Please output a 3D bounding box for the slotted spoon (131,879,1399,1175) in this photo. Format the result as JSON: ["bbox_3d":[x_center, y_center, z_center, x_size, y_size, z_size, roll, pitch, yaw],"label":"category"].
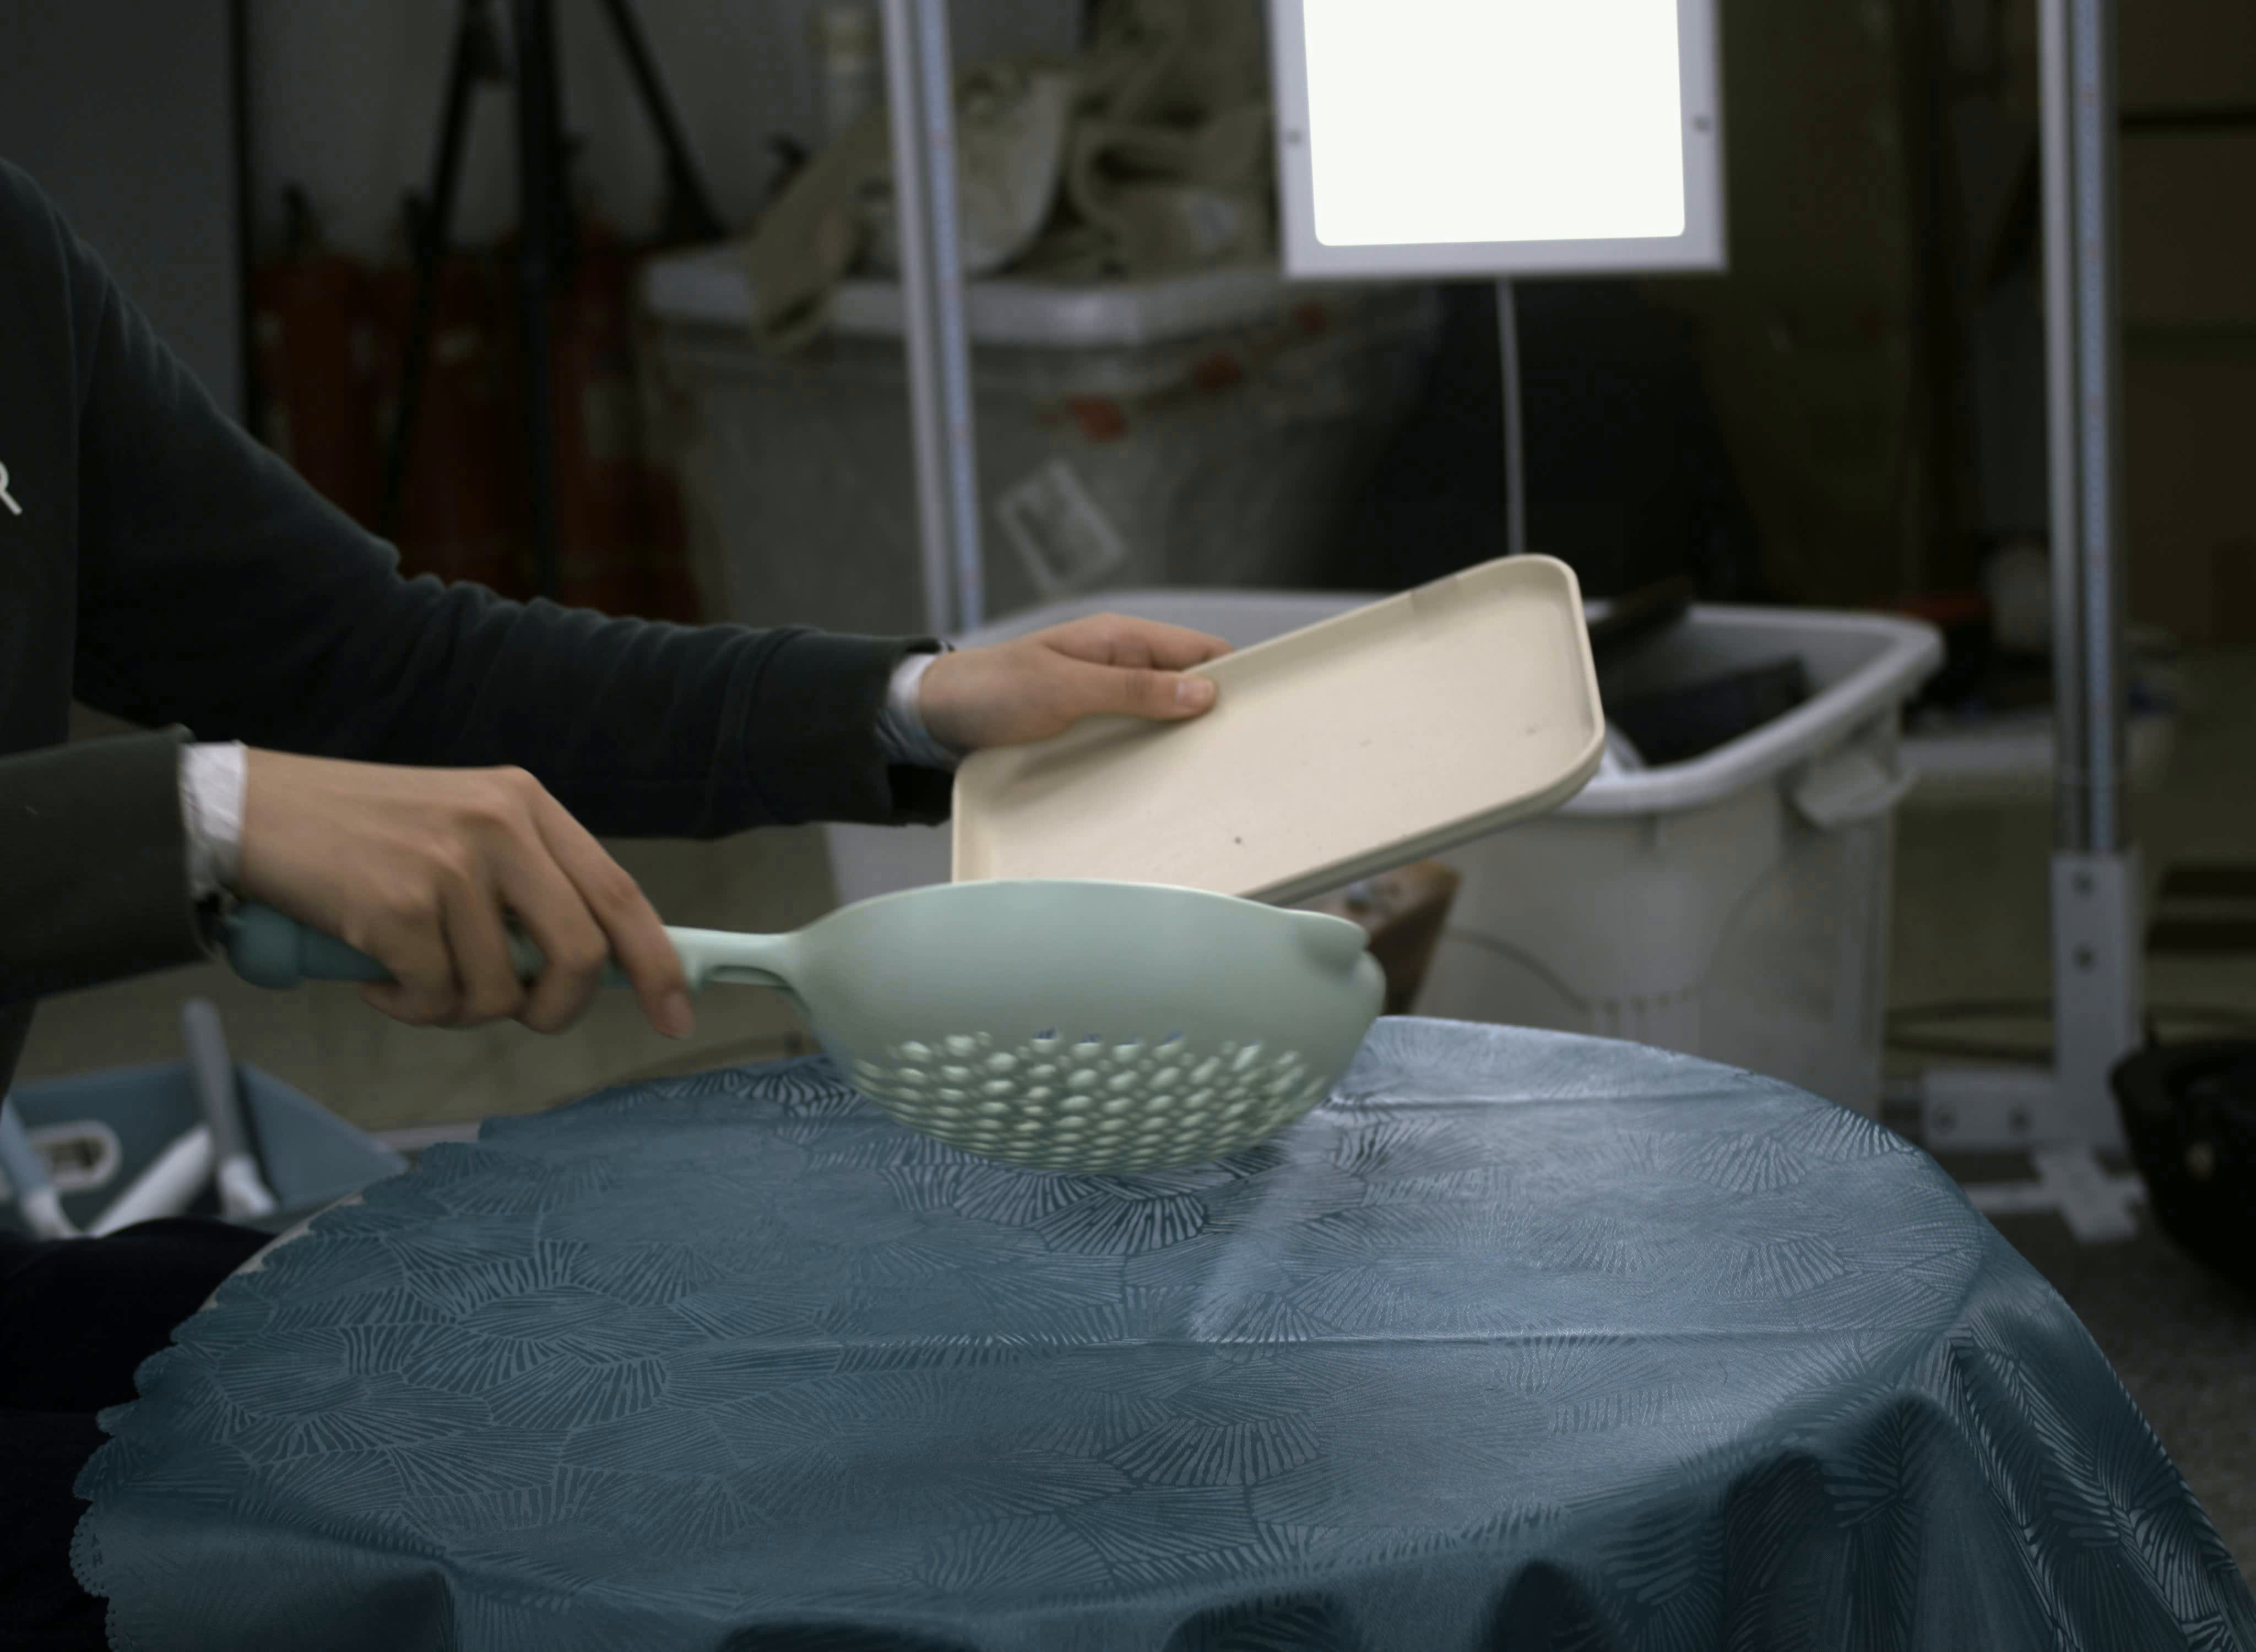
[{"bbox_3d":[-0.103,0.046,1.589,0.357,0.075,0.170,11,-20,-1],"label":"slotted spoon"}]

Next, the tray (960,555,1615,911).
[{"bbox_3d":[0.054,-0.016,1.912,0.241,0.017,0.170,-20,28,12],"label":"tray"}]
